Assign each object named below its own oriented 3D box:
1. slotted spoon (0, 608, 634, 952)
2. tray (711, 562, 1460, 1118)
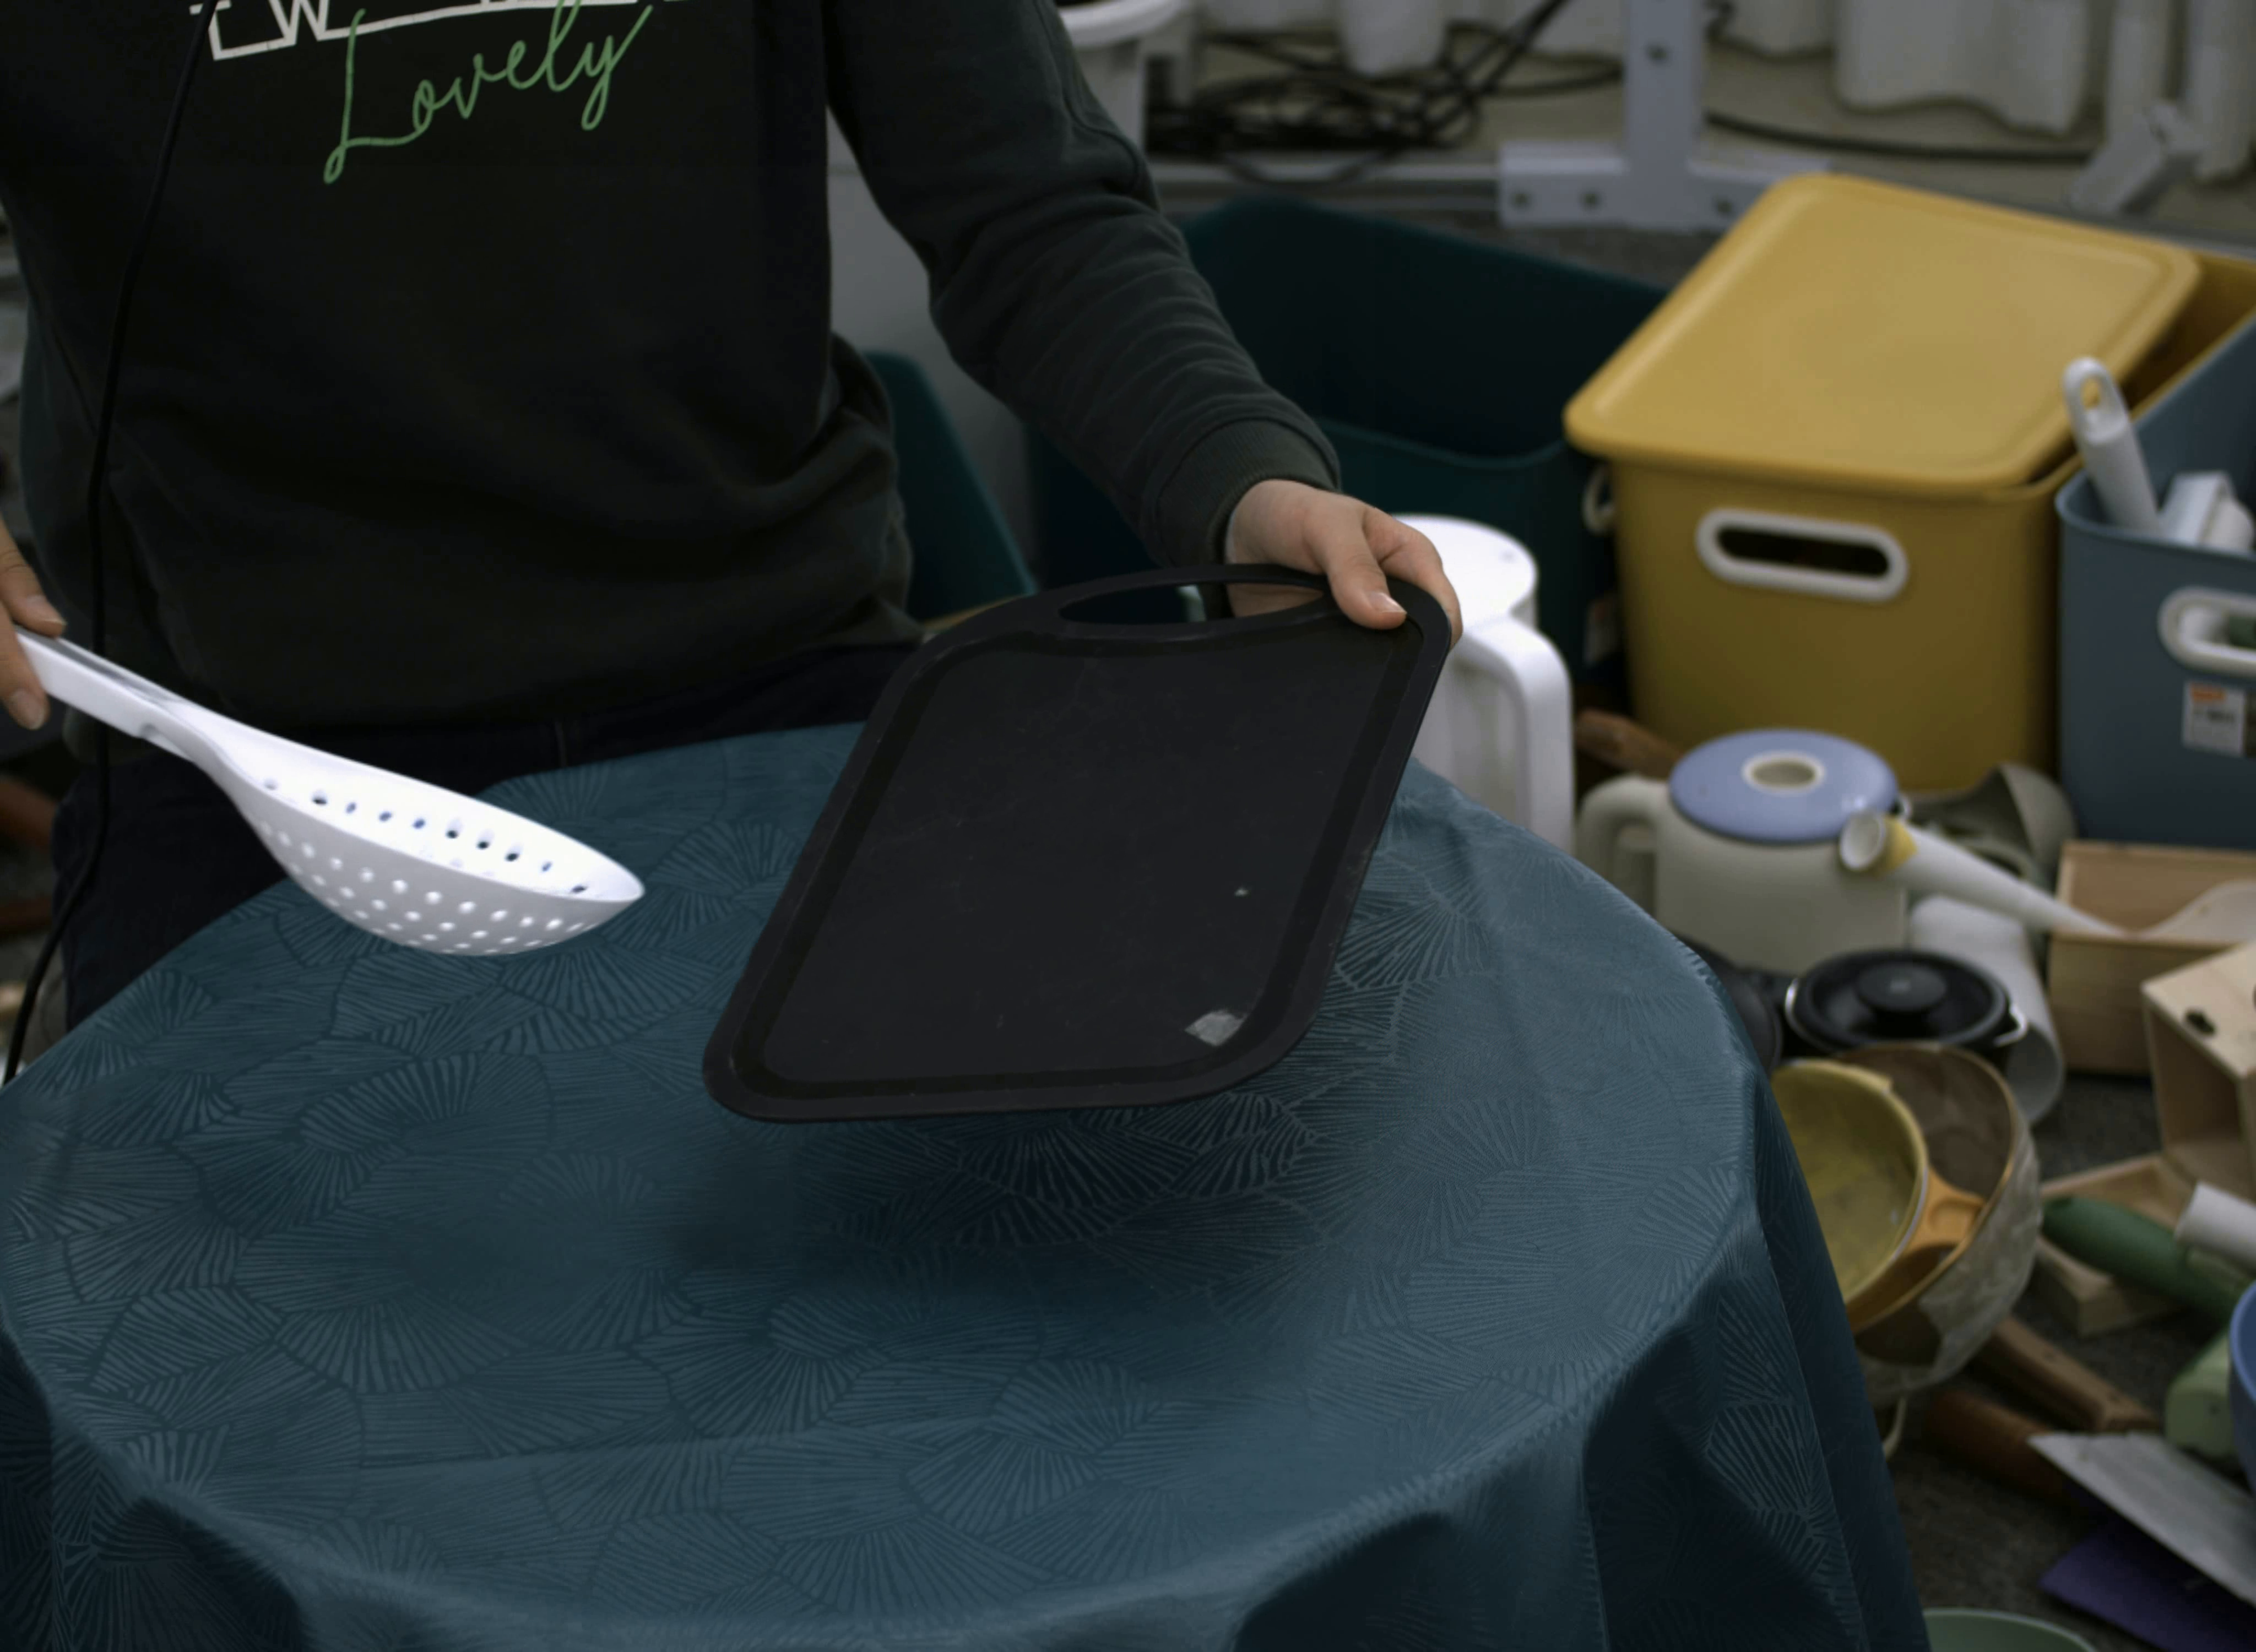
[{"bbox_3d":[-0.308,-0.032,1.845,0.350,0.045,0.136,29,9,31],"label":"slotted spoon"},{"bbox_3d":[-0.009,-0.003,1.895,0.209,0.009,0.332,-3,33,19],"label":"tray"}]
